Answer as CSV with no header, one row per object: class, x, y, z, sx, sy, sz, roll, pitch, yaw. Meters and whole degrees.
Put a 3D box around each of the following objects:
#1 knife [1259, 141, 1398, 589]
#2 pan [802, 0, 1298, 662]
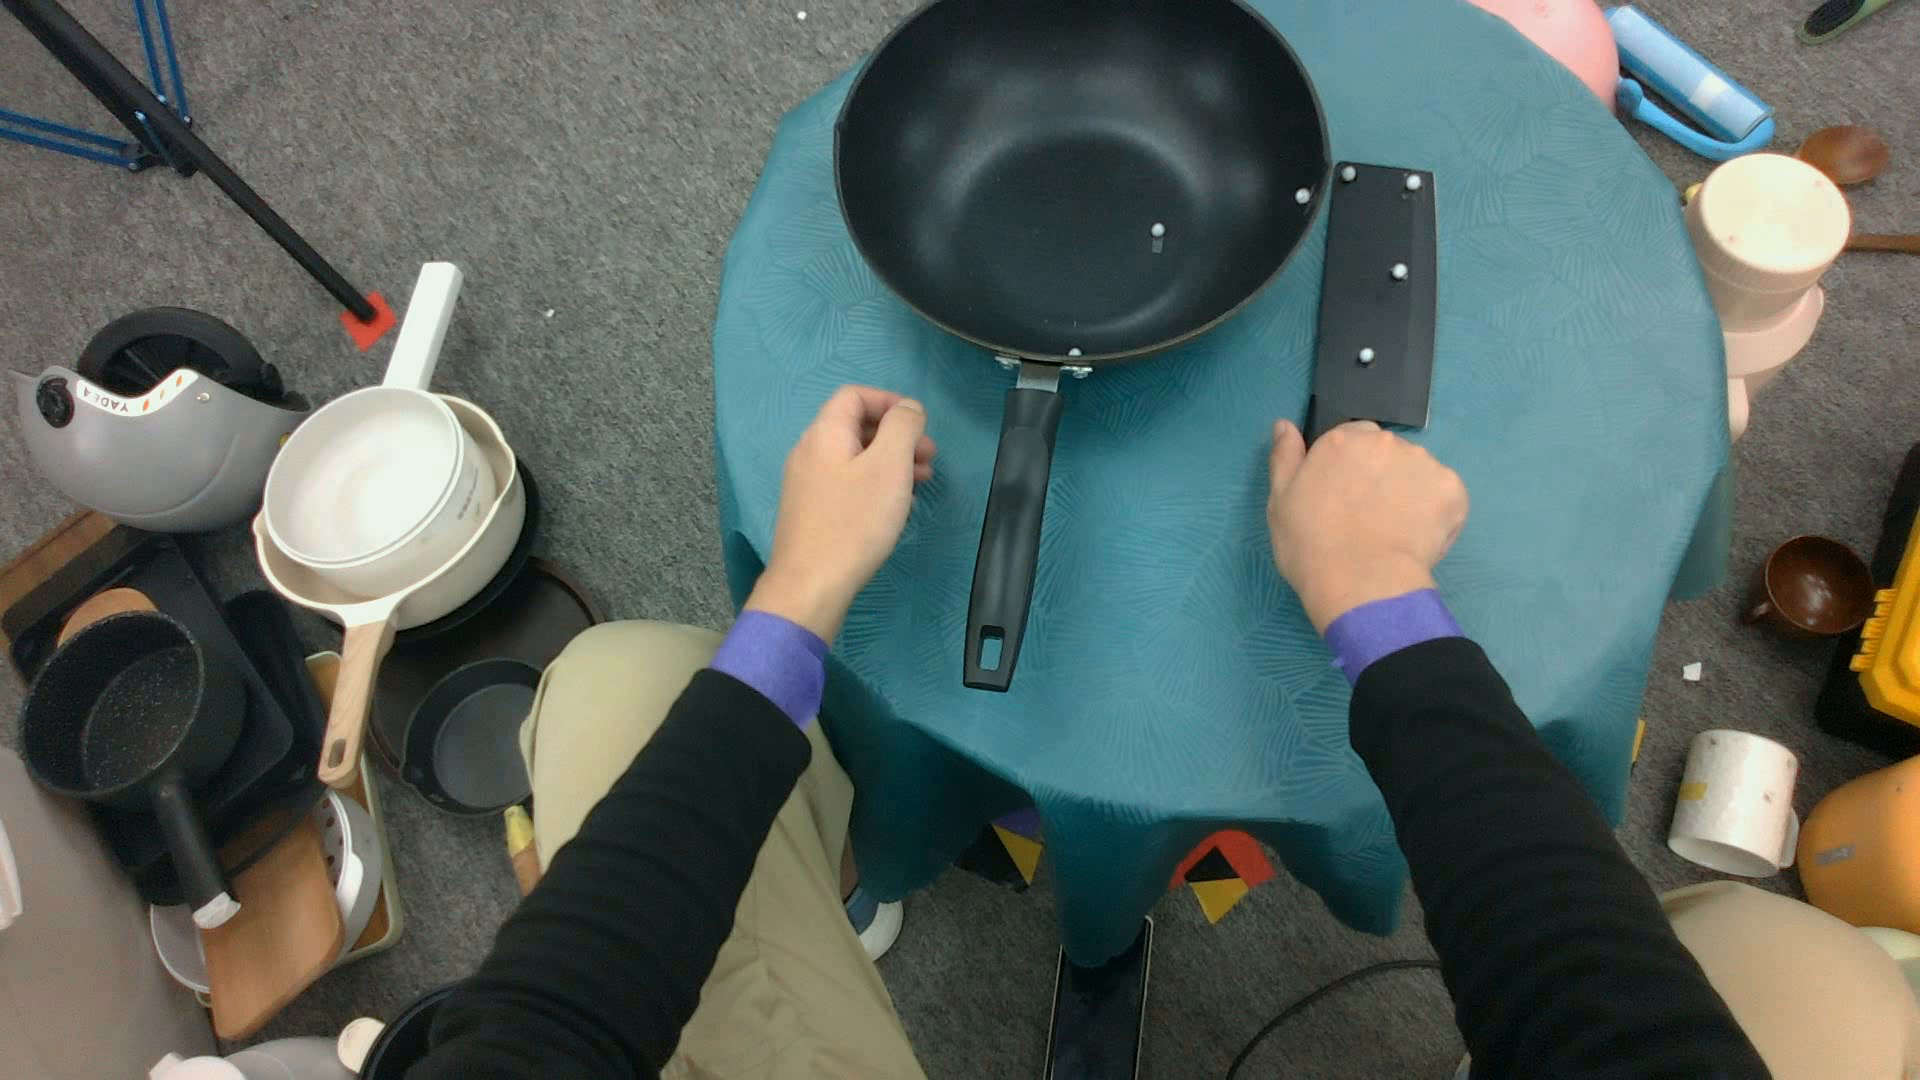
knife,0.217,-0.113,0.810,0.081,0.021,0.303,12,68,6
pan,0.037,-0.142,0.795,0.288,0.086,0.465,8,70,6
